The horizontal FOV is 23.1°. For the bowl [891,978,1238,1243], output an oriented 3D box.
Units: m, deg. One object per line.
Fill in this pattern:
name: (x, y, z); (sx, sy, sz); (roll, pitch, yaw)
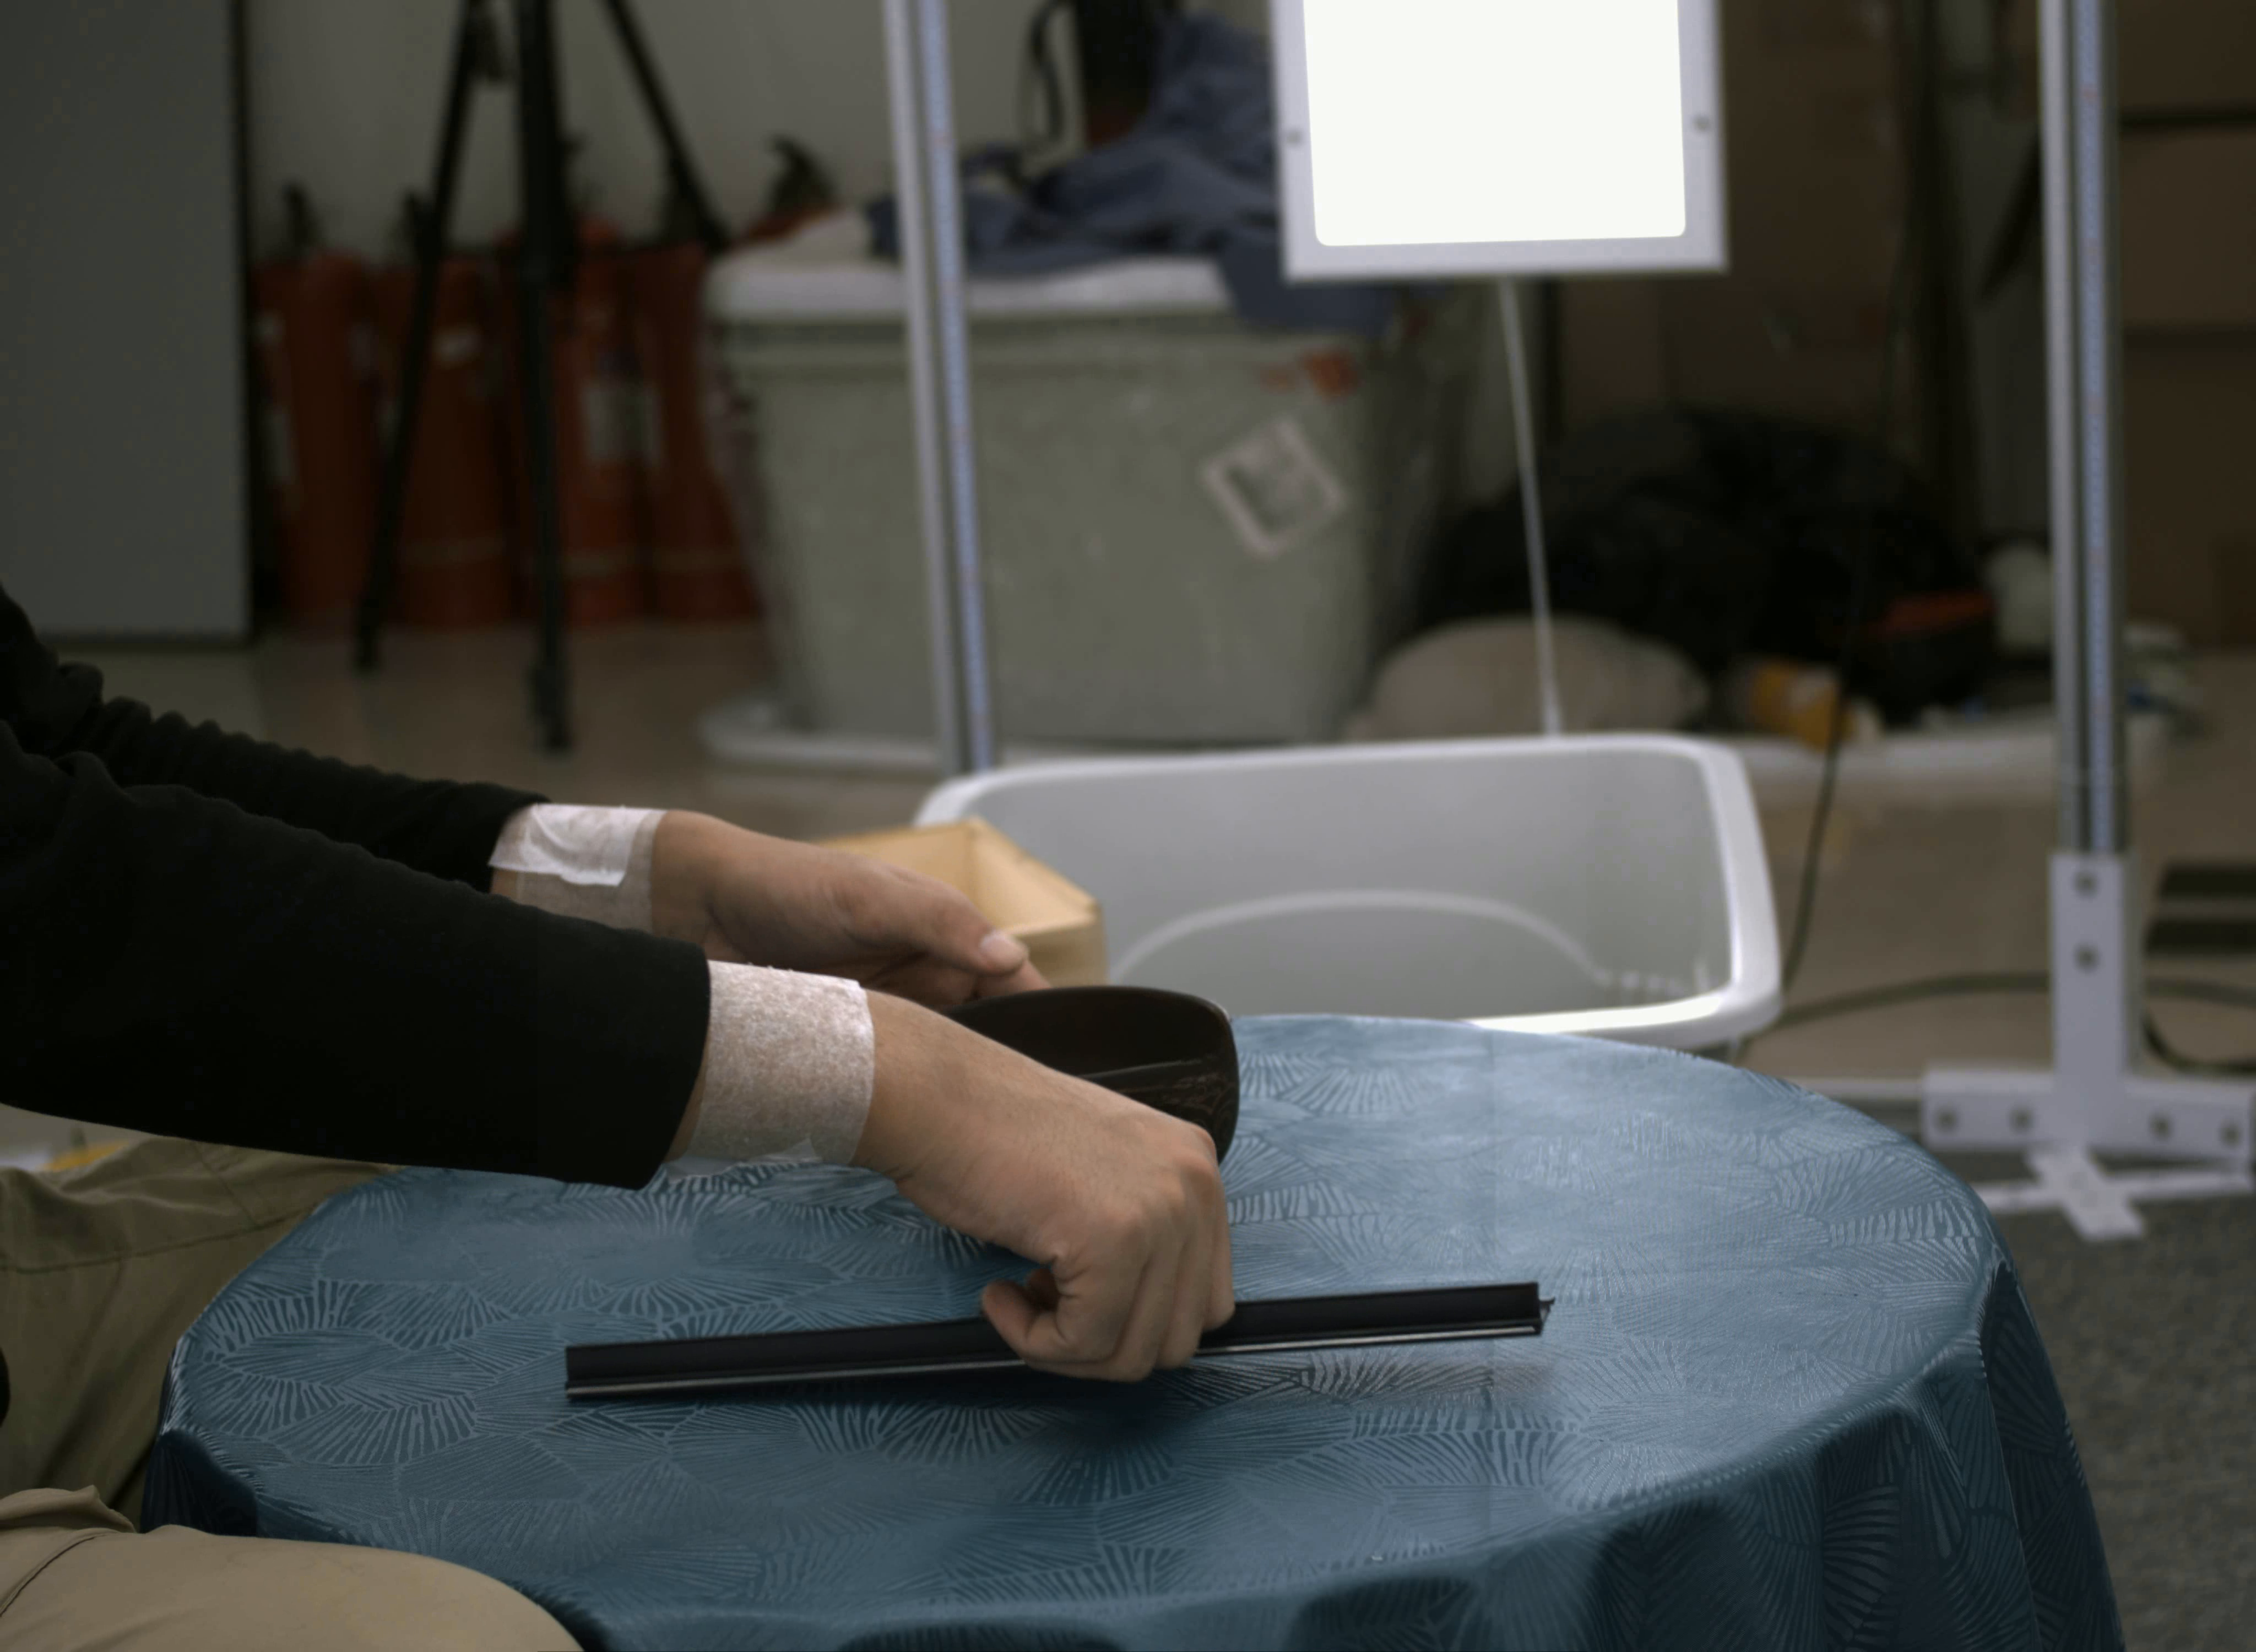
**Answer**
bowl: (-0.020, 0.100, 1.860); (0.118, 0.070, 0.118); (-4, 13, 0)

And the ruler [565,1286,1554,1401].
ruler: (-0.023, 0.157, 1.714); (0.315, 0.017, 0.039); (-5, 8, 14)
